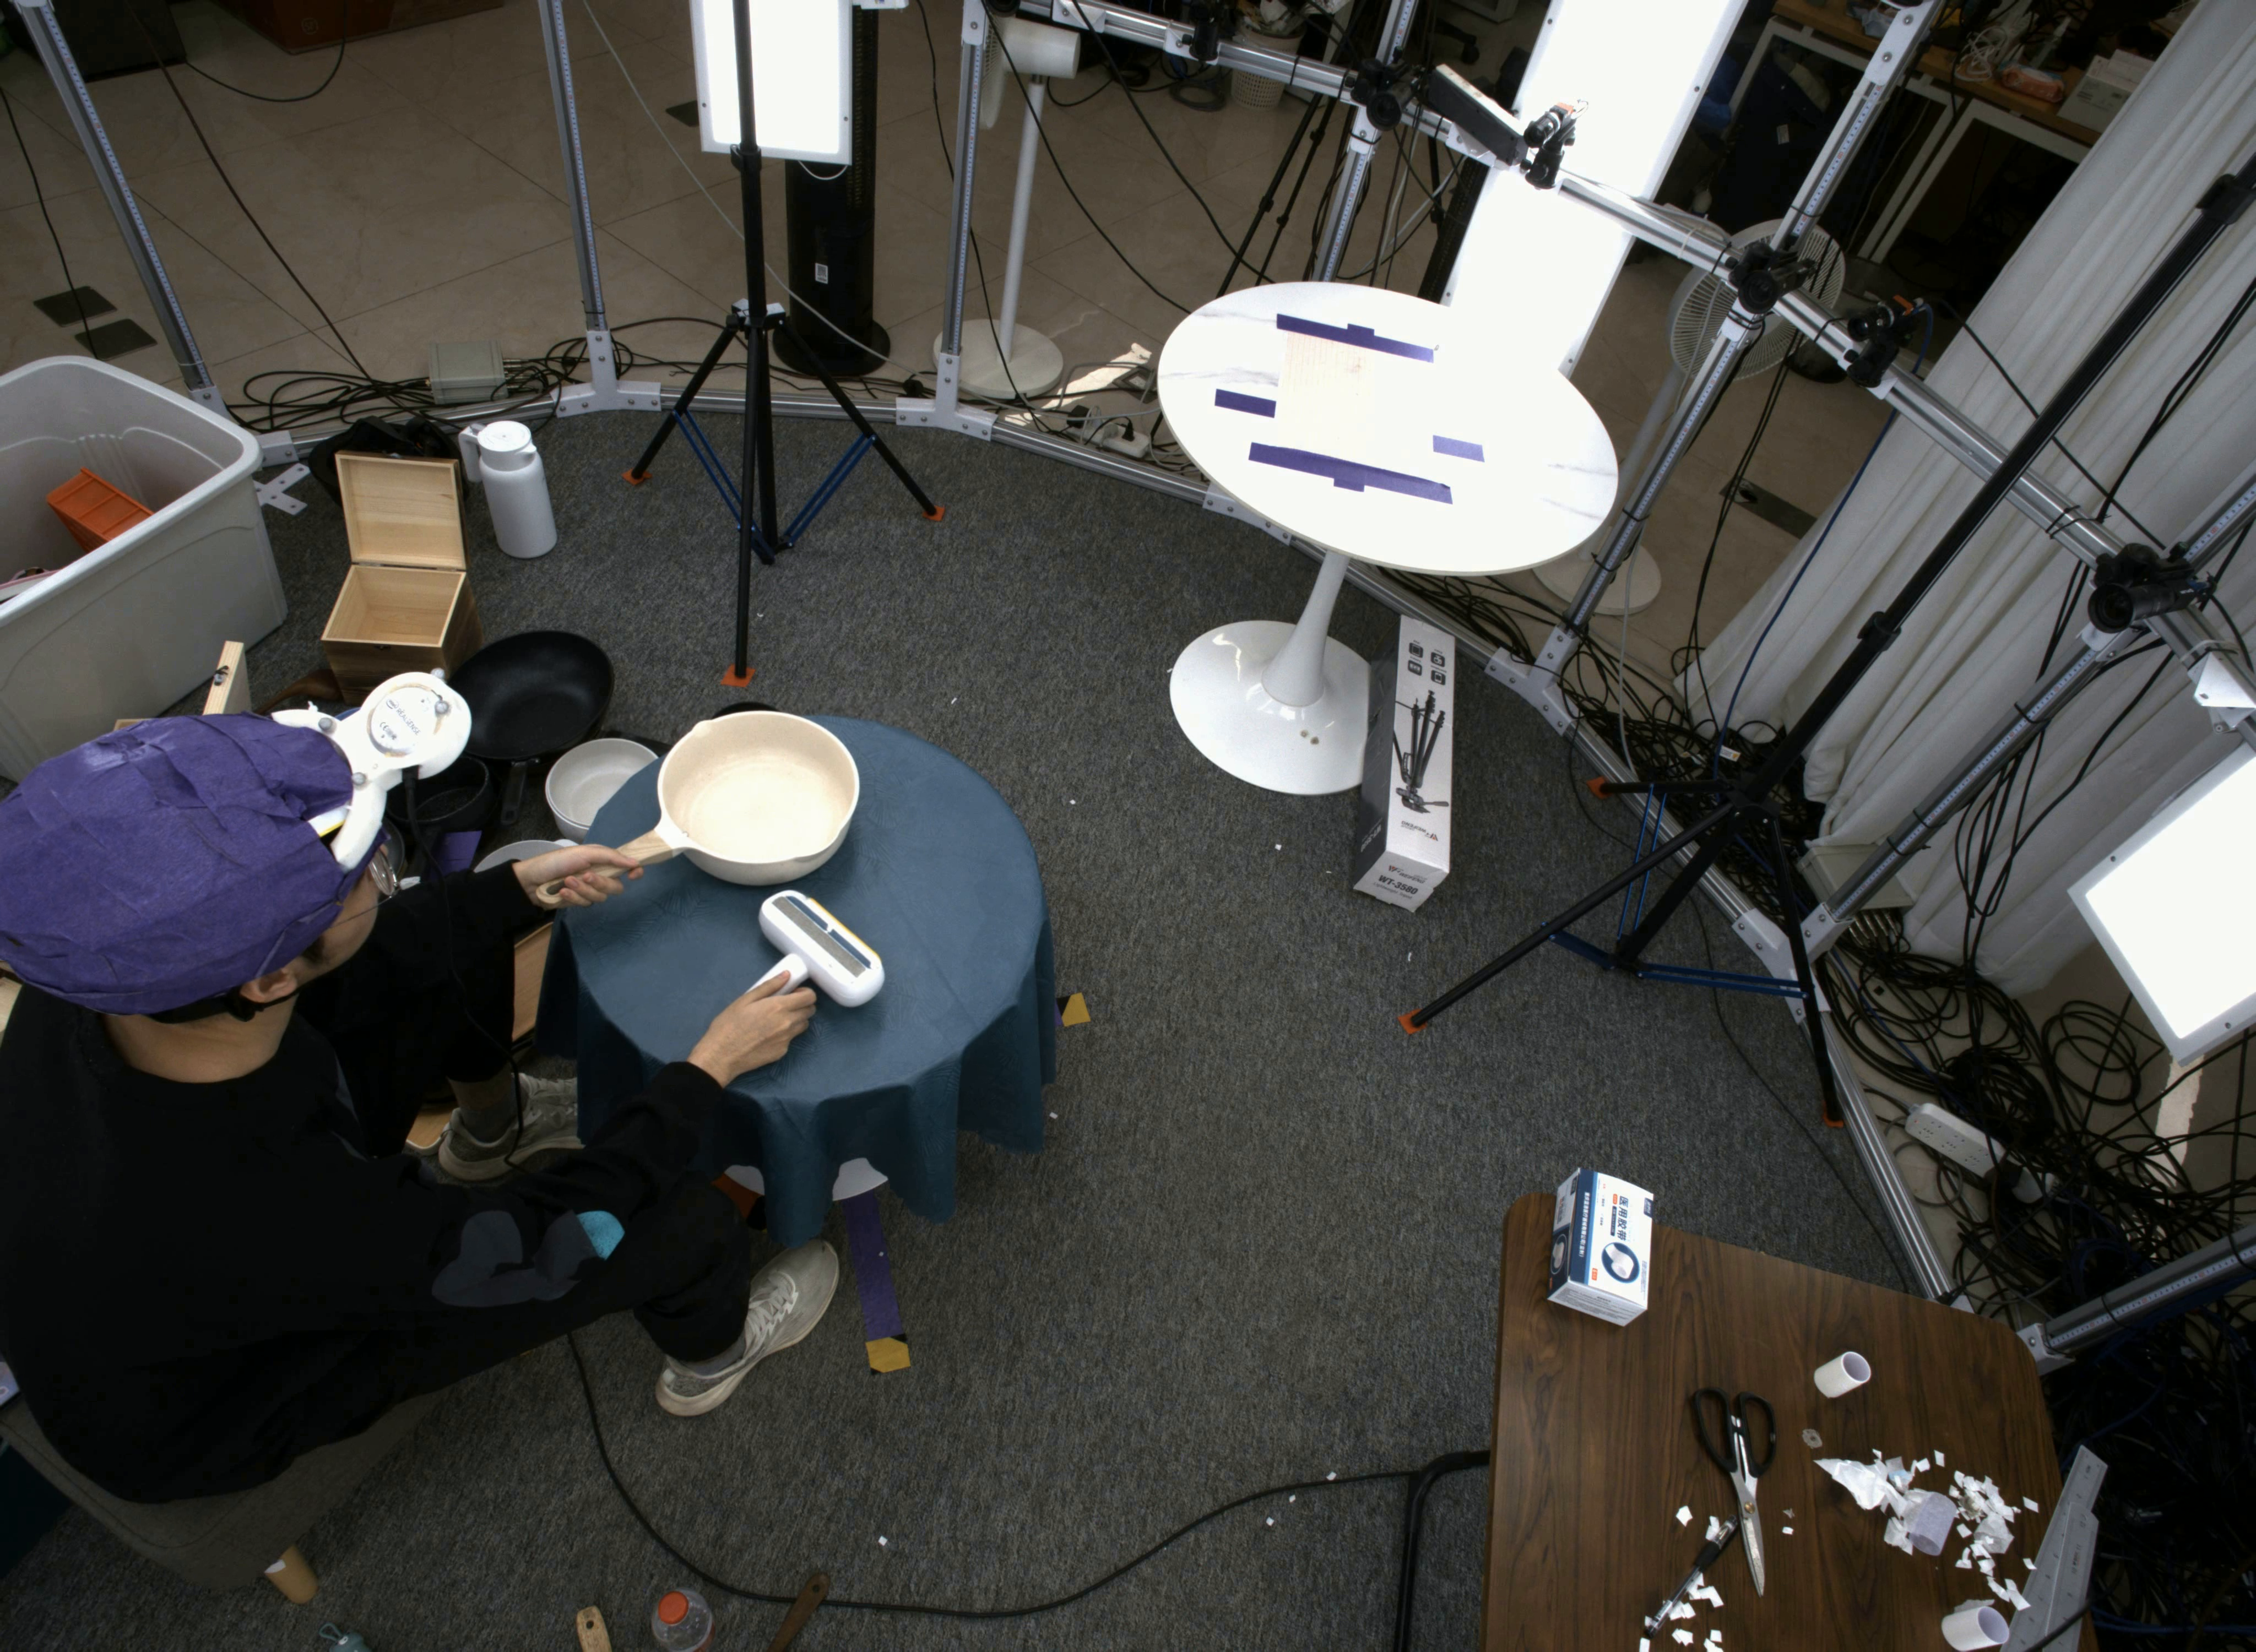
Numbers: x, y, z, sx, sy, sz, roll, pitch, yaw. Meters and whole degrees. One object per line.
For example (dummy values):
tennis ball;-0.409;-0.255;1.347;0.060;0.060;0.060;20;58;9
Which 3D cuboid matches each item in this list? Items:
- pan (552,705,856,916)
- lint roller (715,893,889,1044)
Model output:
pan;-0.543;0.007;1.629;0.258;0.104;0.436;43;55;15
lint roller;-0.411;0.183;1.554;0.193;0.076;0.187;-34;64;-31
